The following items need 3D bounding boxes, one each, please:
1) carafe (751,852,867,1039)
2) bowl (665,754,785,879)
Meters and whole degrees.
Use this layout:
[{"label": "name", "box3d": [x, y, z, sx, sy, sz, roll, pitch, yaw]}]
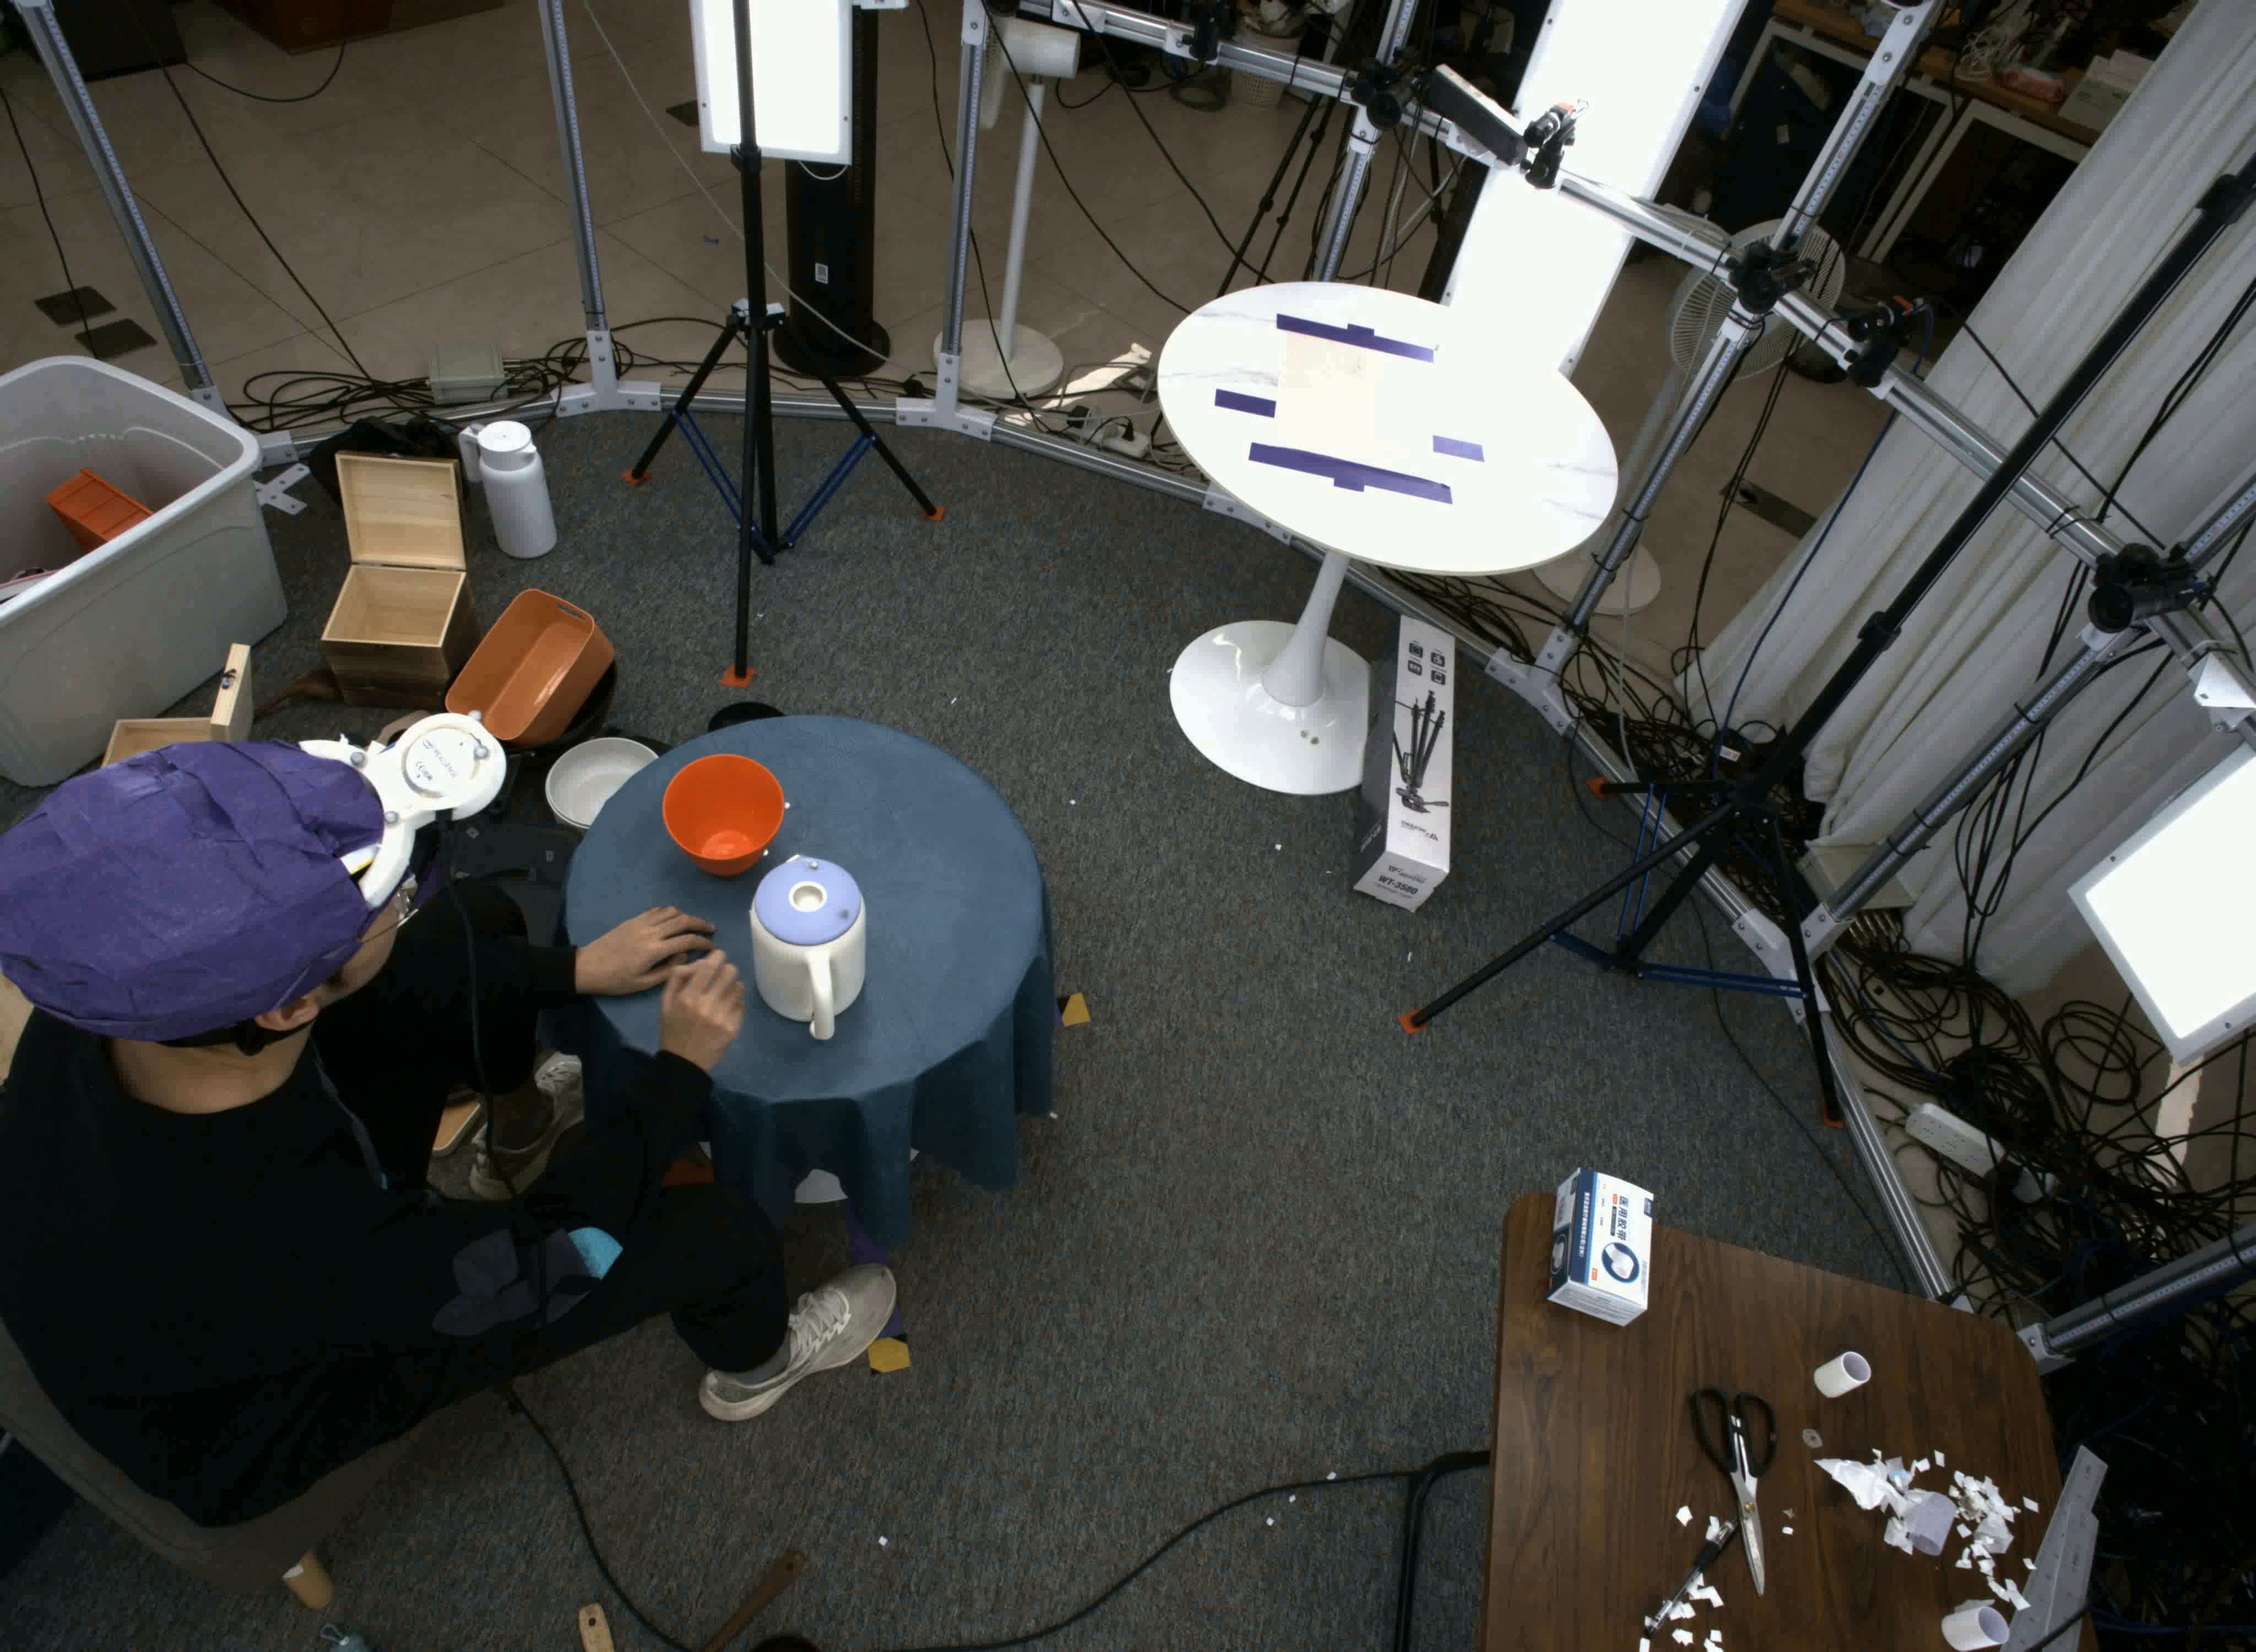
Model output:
[{"label": "carafe", "box3d": [-0.368, 0.152, 1.523, 0.132, 0.186, 0.187, -11, 59, -19]}, {"label": "bowl", "box3d": [-0.509, -0.001, 1.643, 0.148, 0.107, 0.145, 8, 52, -8]}]
